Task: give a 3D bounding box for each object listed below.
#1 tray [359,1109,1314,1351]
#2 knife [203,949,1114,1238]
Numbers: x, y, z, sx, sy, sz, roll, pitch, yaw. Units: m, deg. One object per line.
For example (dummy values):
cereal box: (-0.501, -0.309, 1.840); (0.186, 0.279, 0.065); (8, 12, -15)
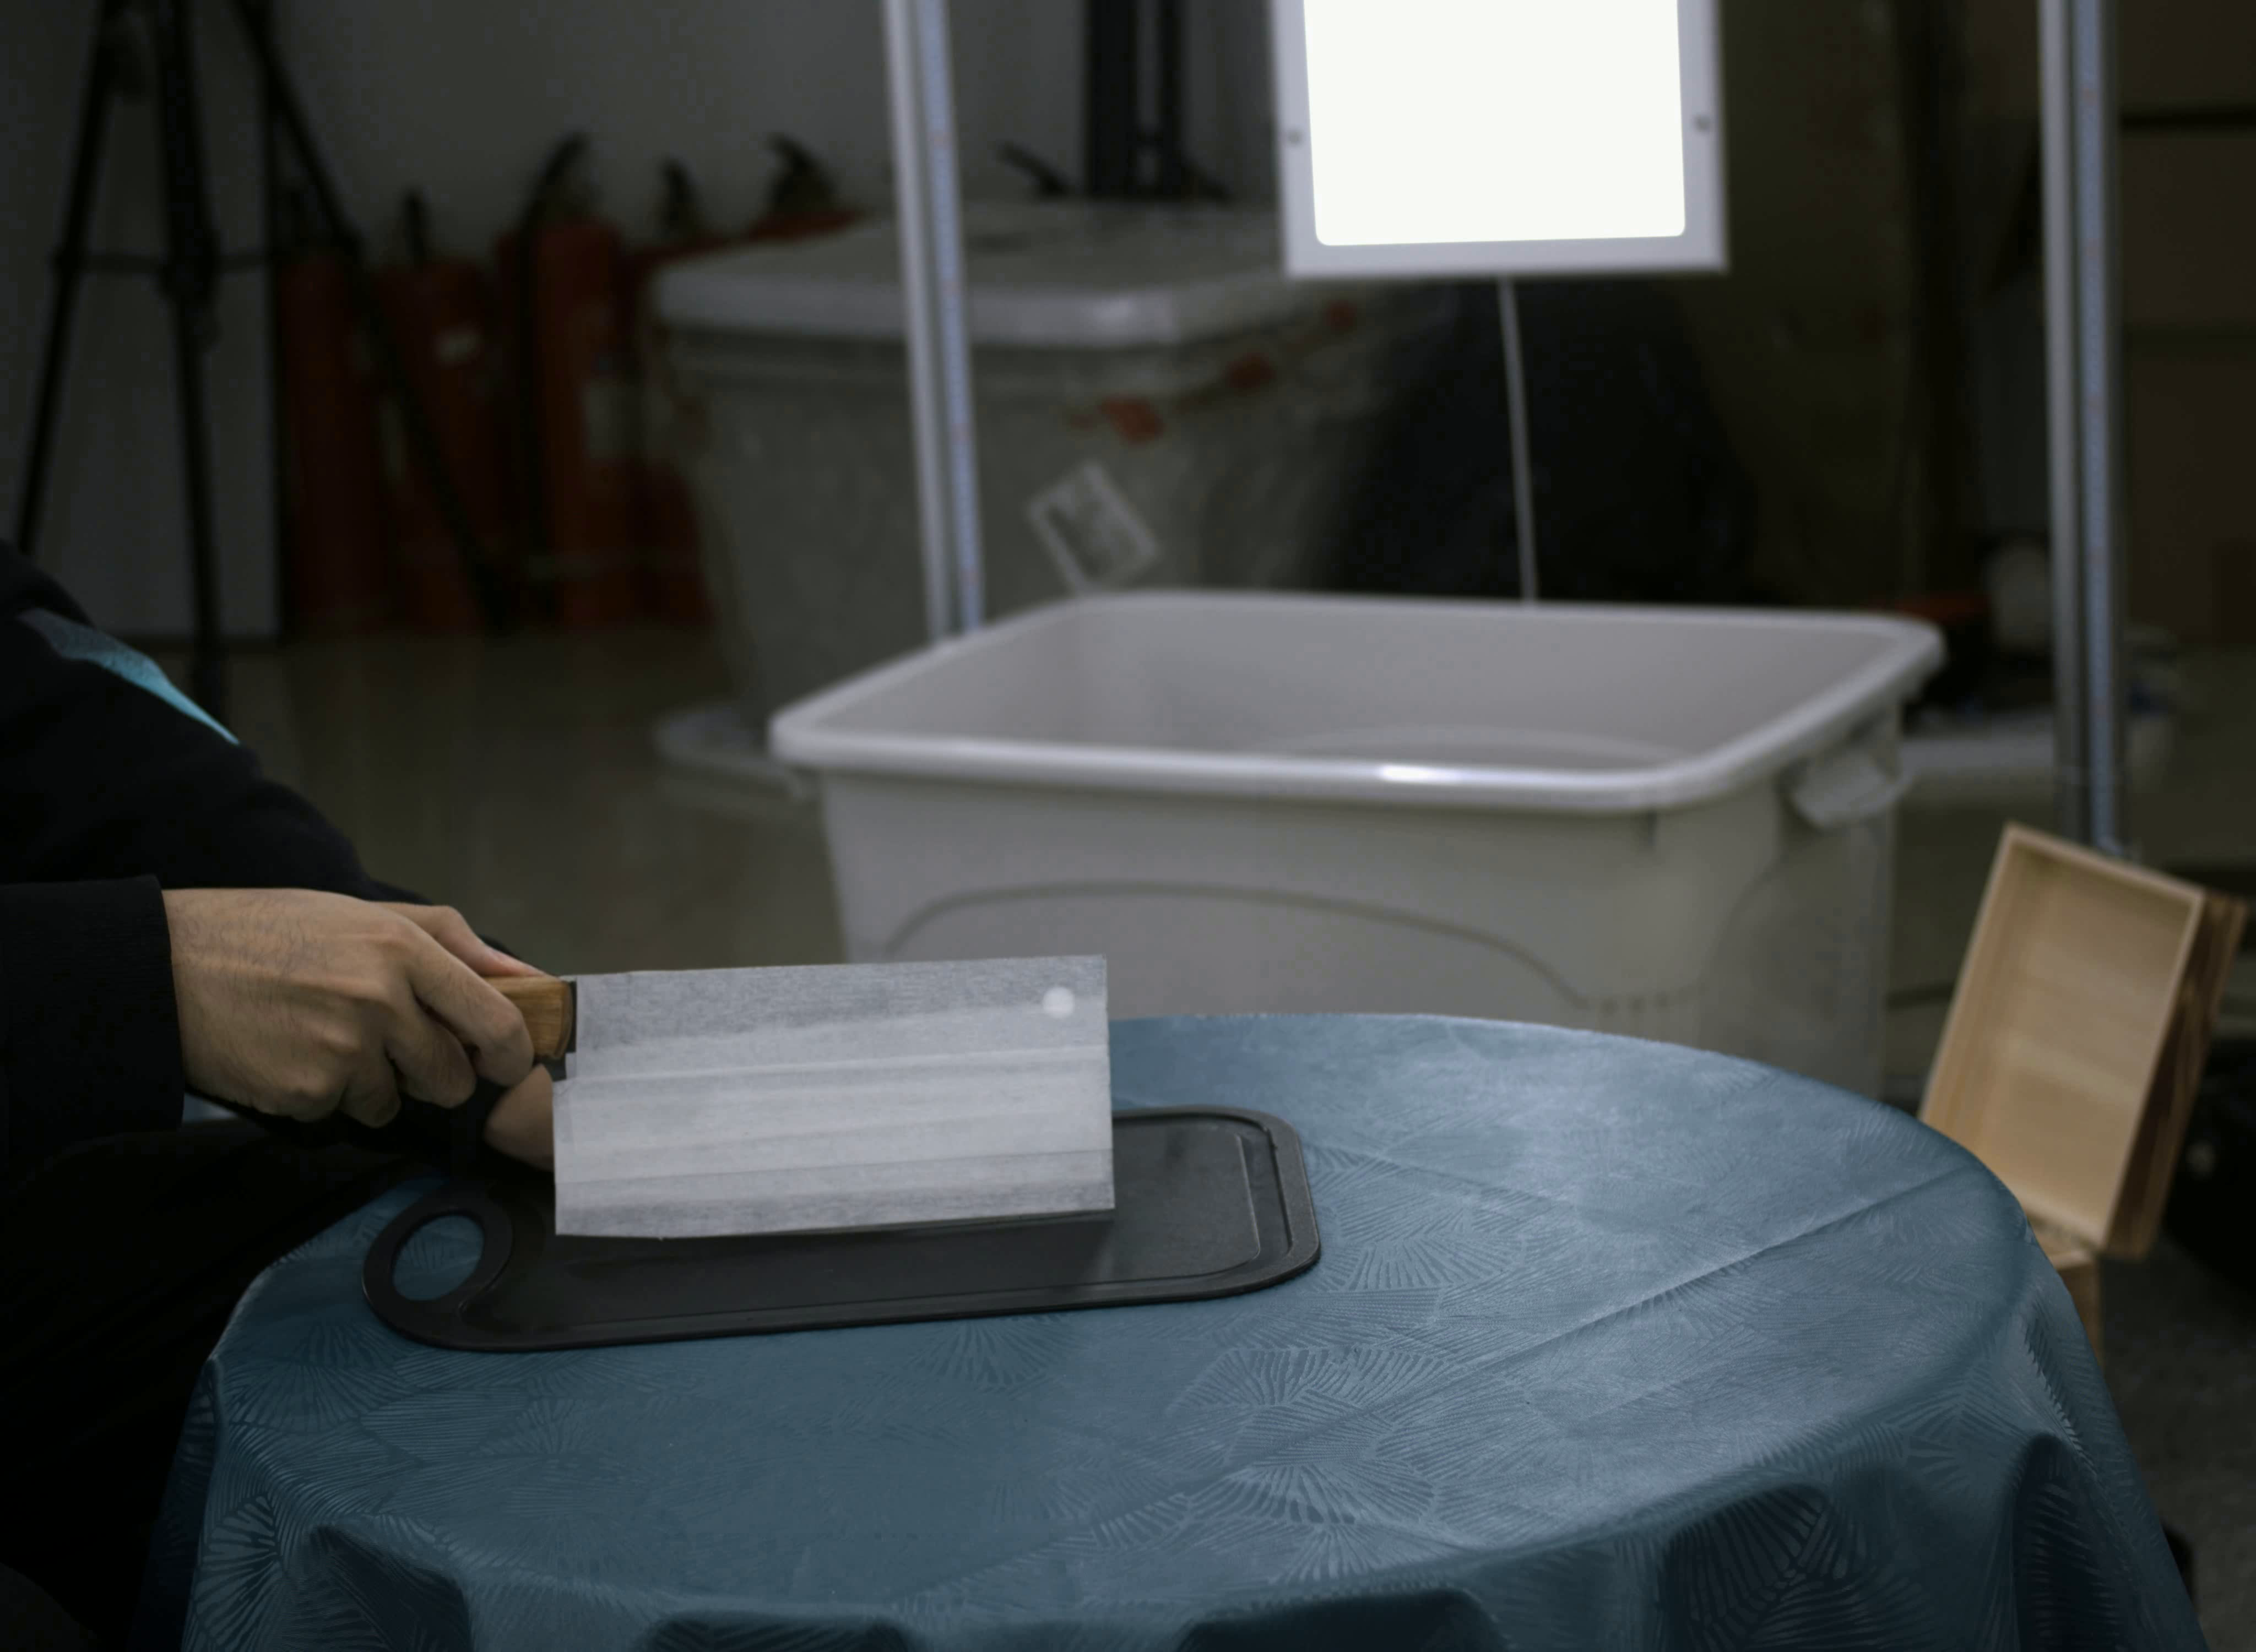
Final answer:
tray: (-0.100, 0.135, 1.883); (0.325, 0.010, 0.210); (-4, 14, 2)
knife: (-0.157, 0.092, 1.861); (0.305, 0.093, 0.021); (-2, 7, 0)
